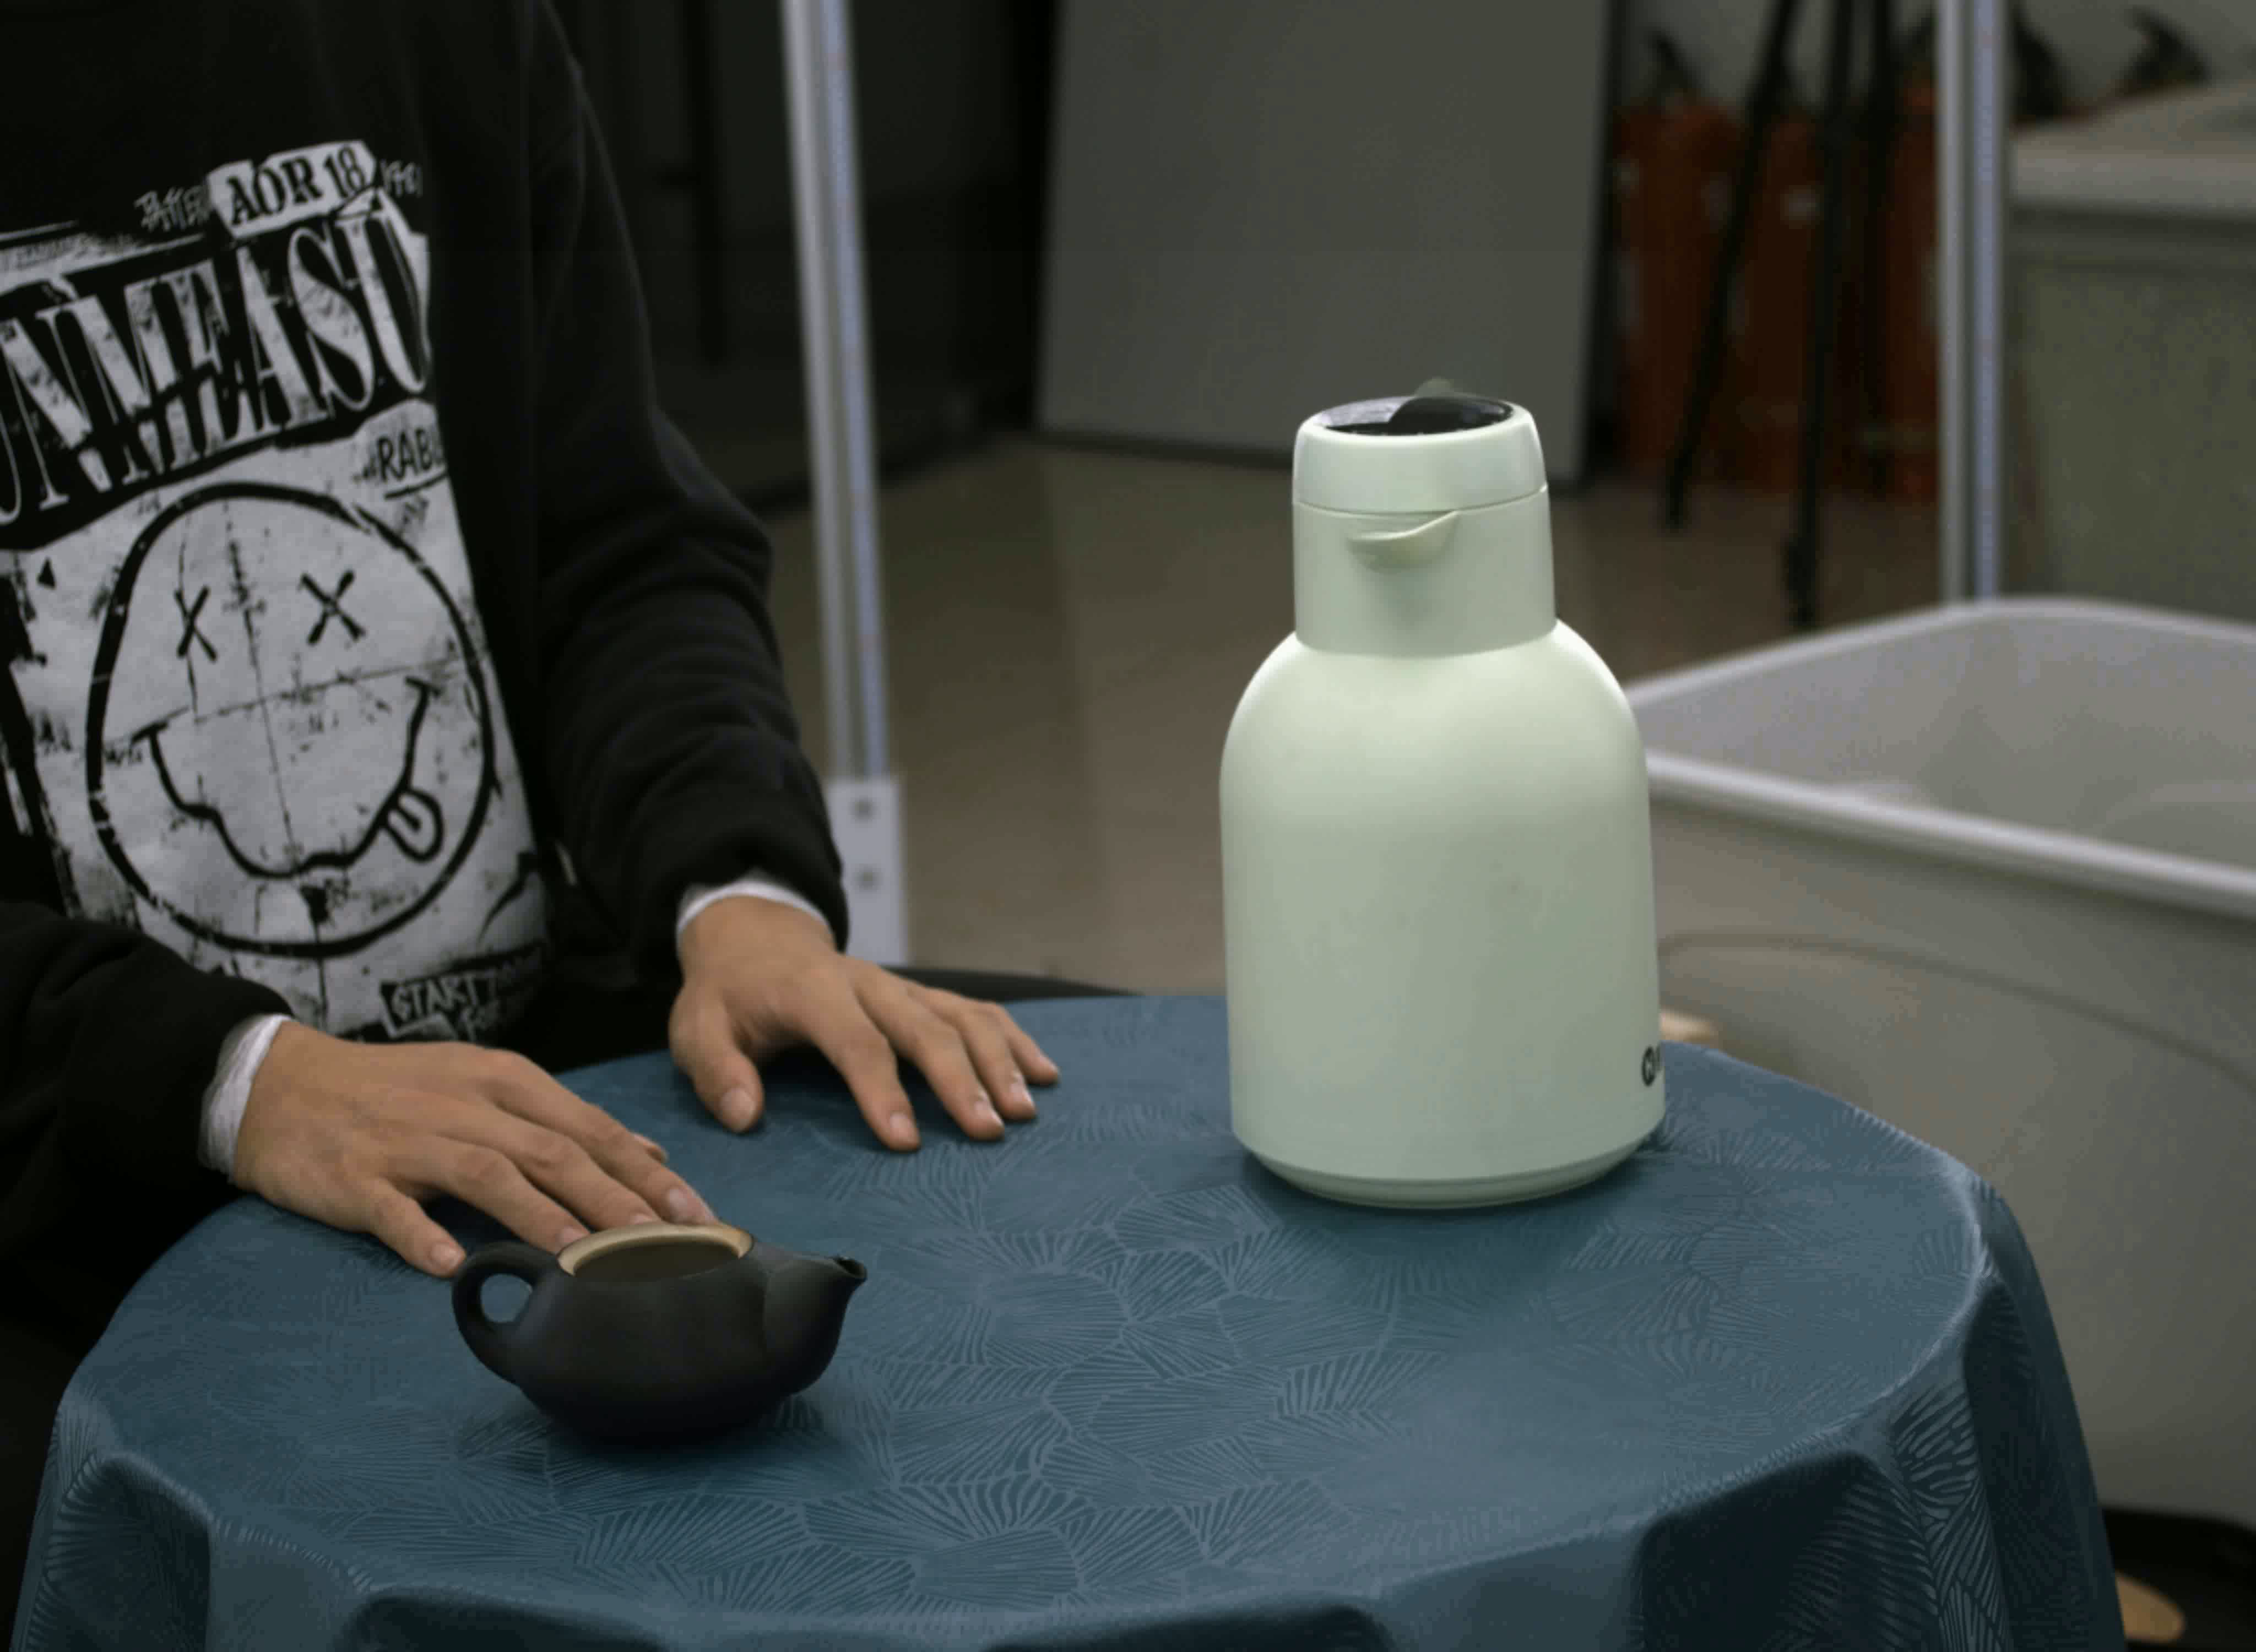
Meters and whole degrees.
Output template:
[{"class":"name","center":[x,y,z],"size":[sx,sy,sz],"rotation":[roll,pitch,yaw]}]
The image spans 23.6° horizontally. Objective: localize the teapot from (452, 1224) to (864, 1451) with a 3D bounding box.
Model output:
[{"class":"teapot","center":[-0.137,0.150,1.588],"size":[0.133,0.053,0.090],"rotation":[1,13,20]}]

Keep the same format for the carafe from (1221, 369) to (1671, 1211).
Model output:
[{"class":"carafe","center":[0.103,-0.016,1.773],"size":[0.143,0.260,0.185],"rotation":[-2,10,15]}]
